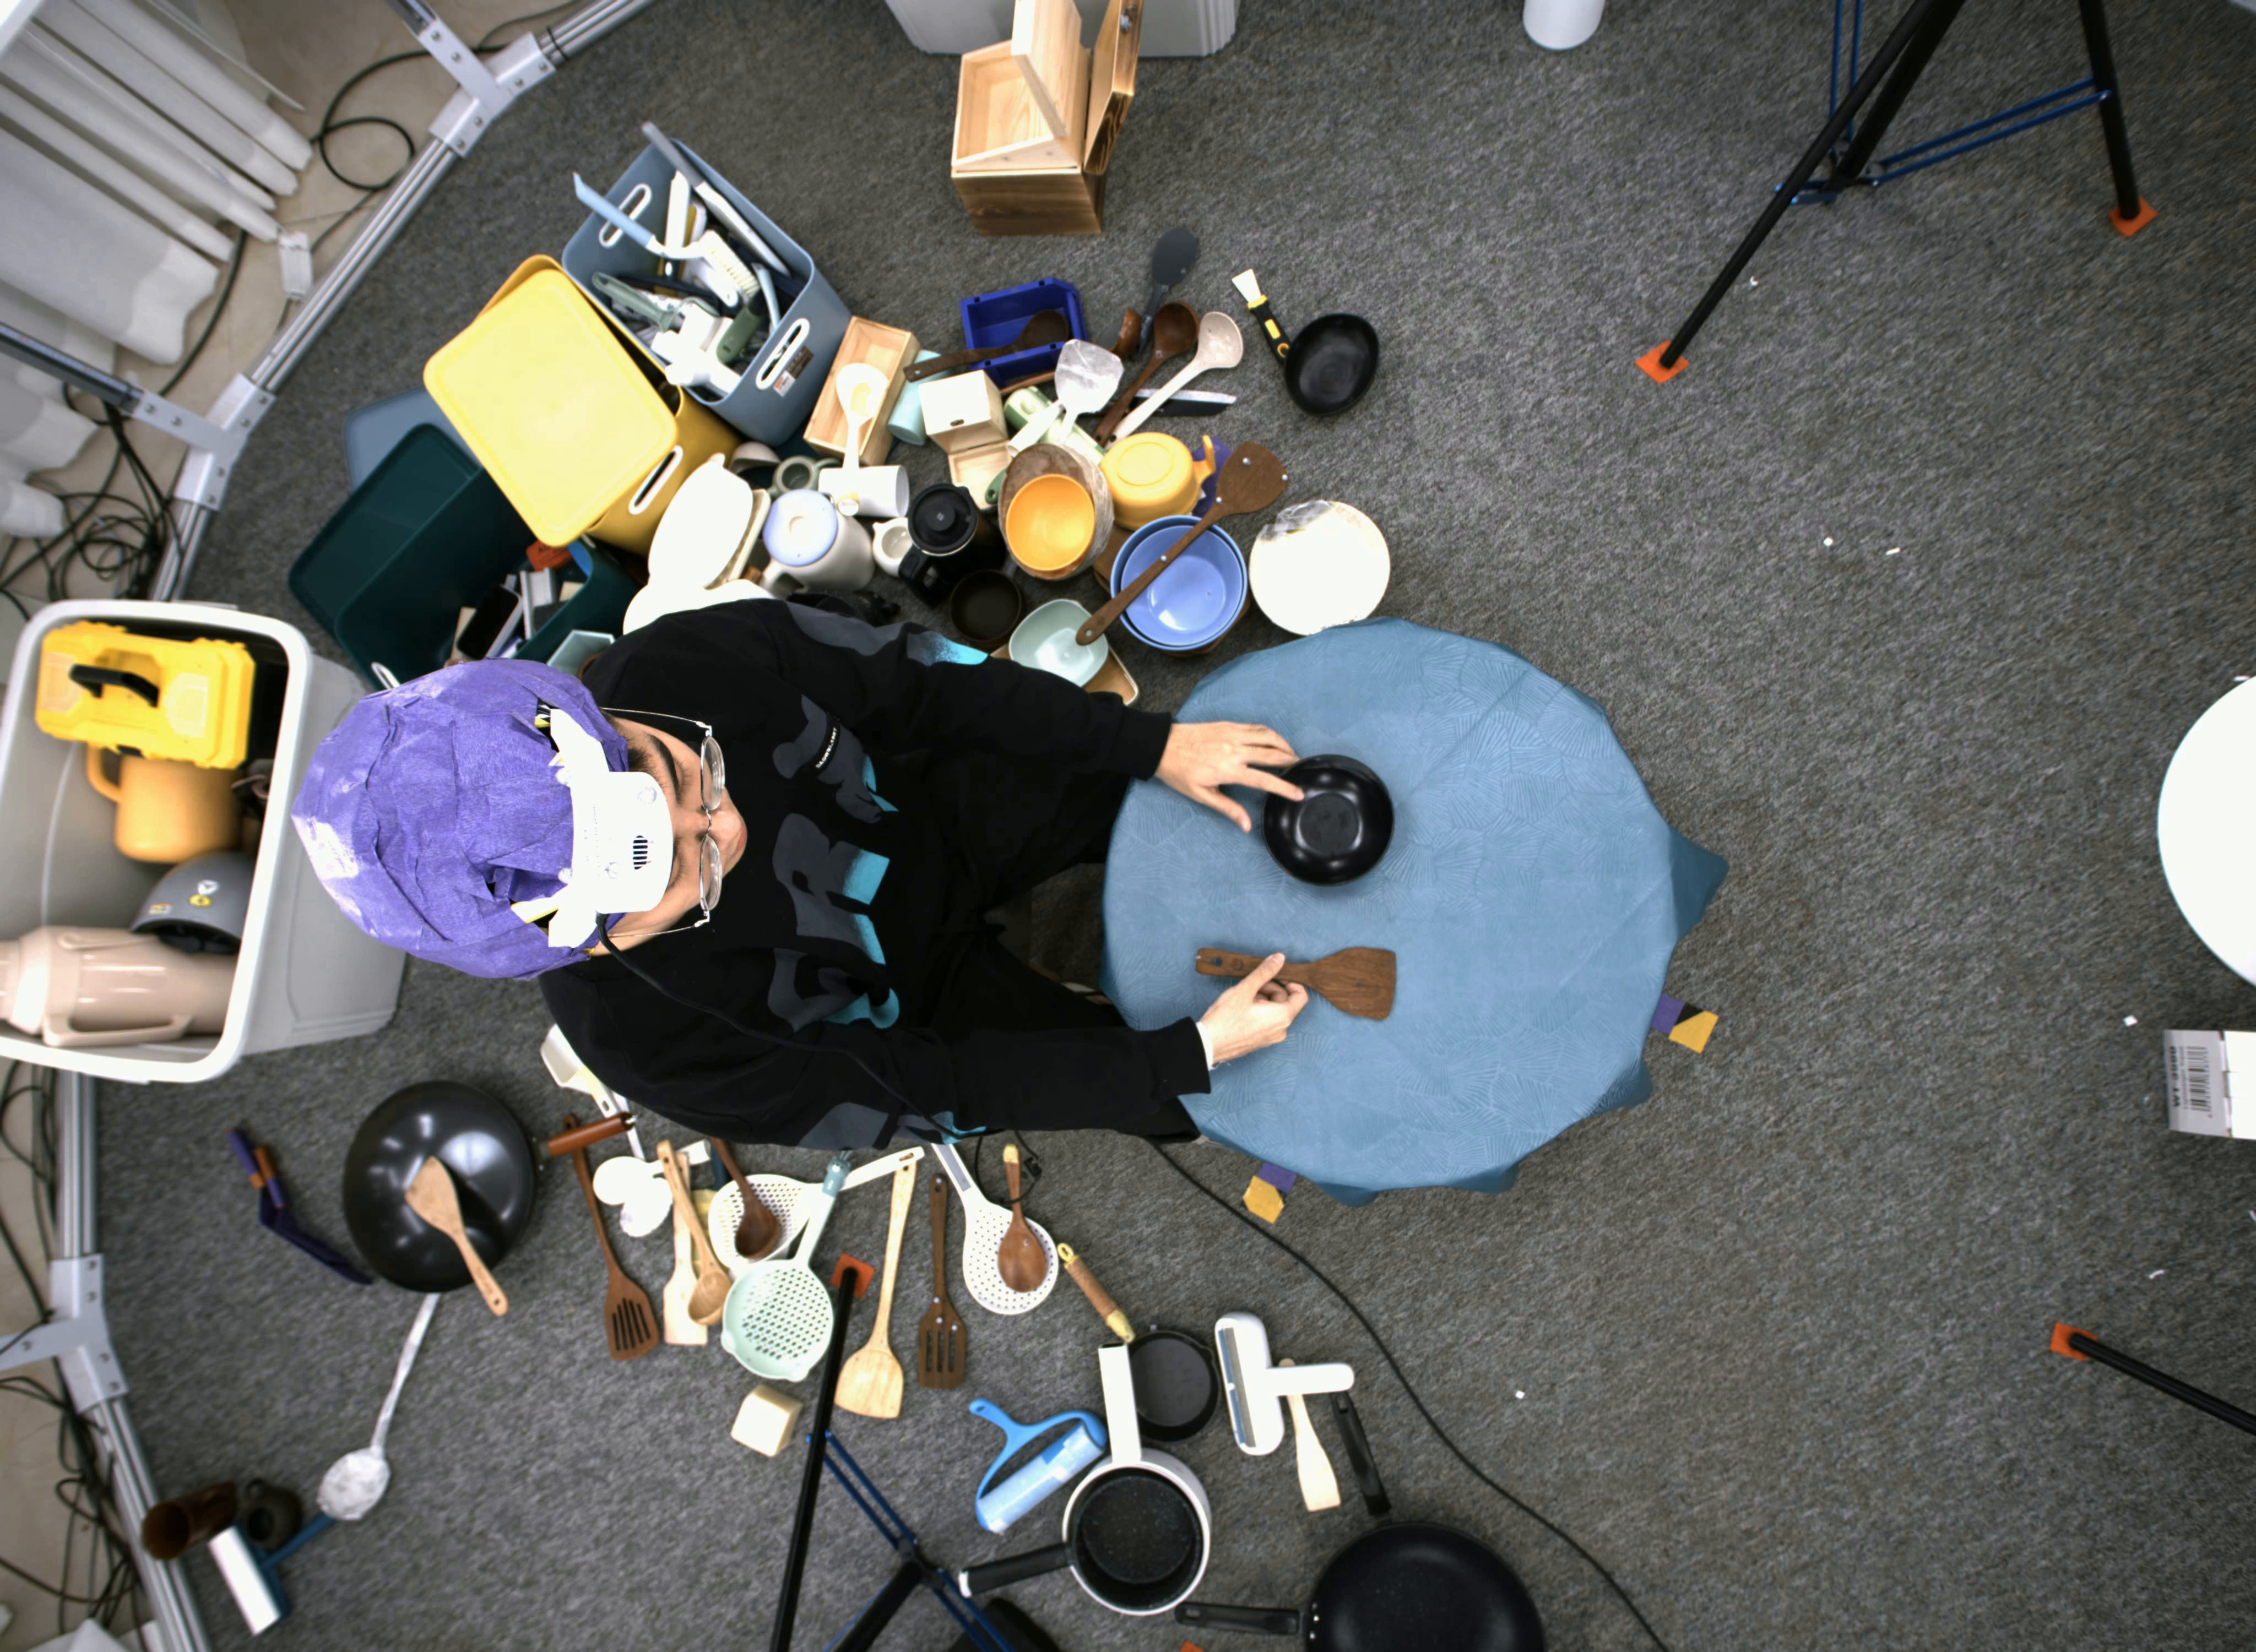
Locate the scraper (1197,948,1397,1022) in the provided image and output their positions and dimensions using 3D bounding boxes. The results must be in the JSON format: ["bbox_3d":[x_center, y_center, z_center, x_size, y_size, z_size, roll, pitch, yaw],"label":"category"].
[{"bbox_3d":[0.177,0.156,1.458,0.211,0.011,0.075,8,84,1],"label":"scraper"}]

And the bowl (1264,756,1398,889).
[{"bbox_3d":[0.214,-0.003,1.456,0.140,0.049,0.139,0,89,11],"label":"bowl"}]
